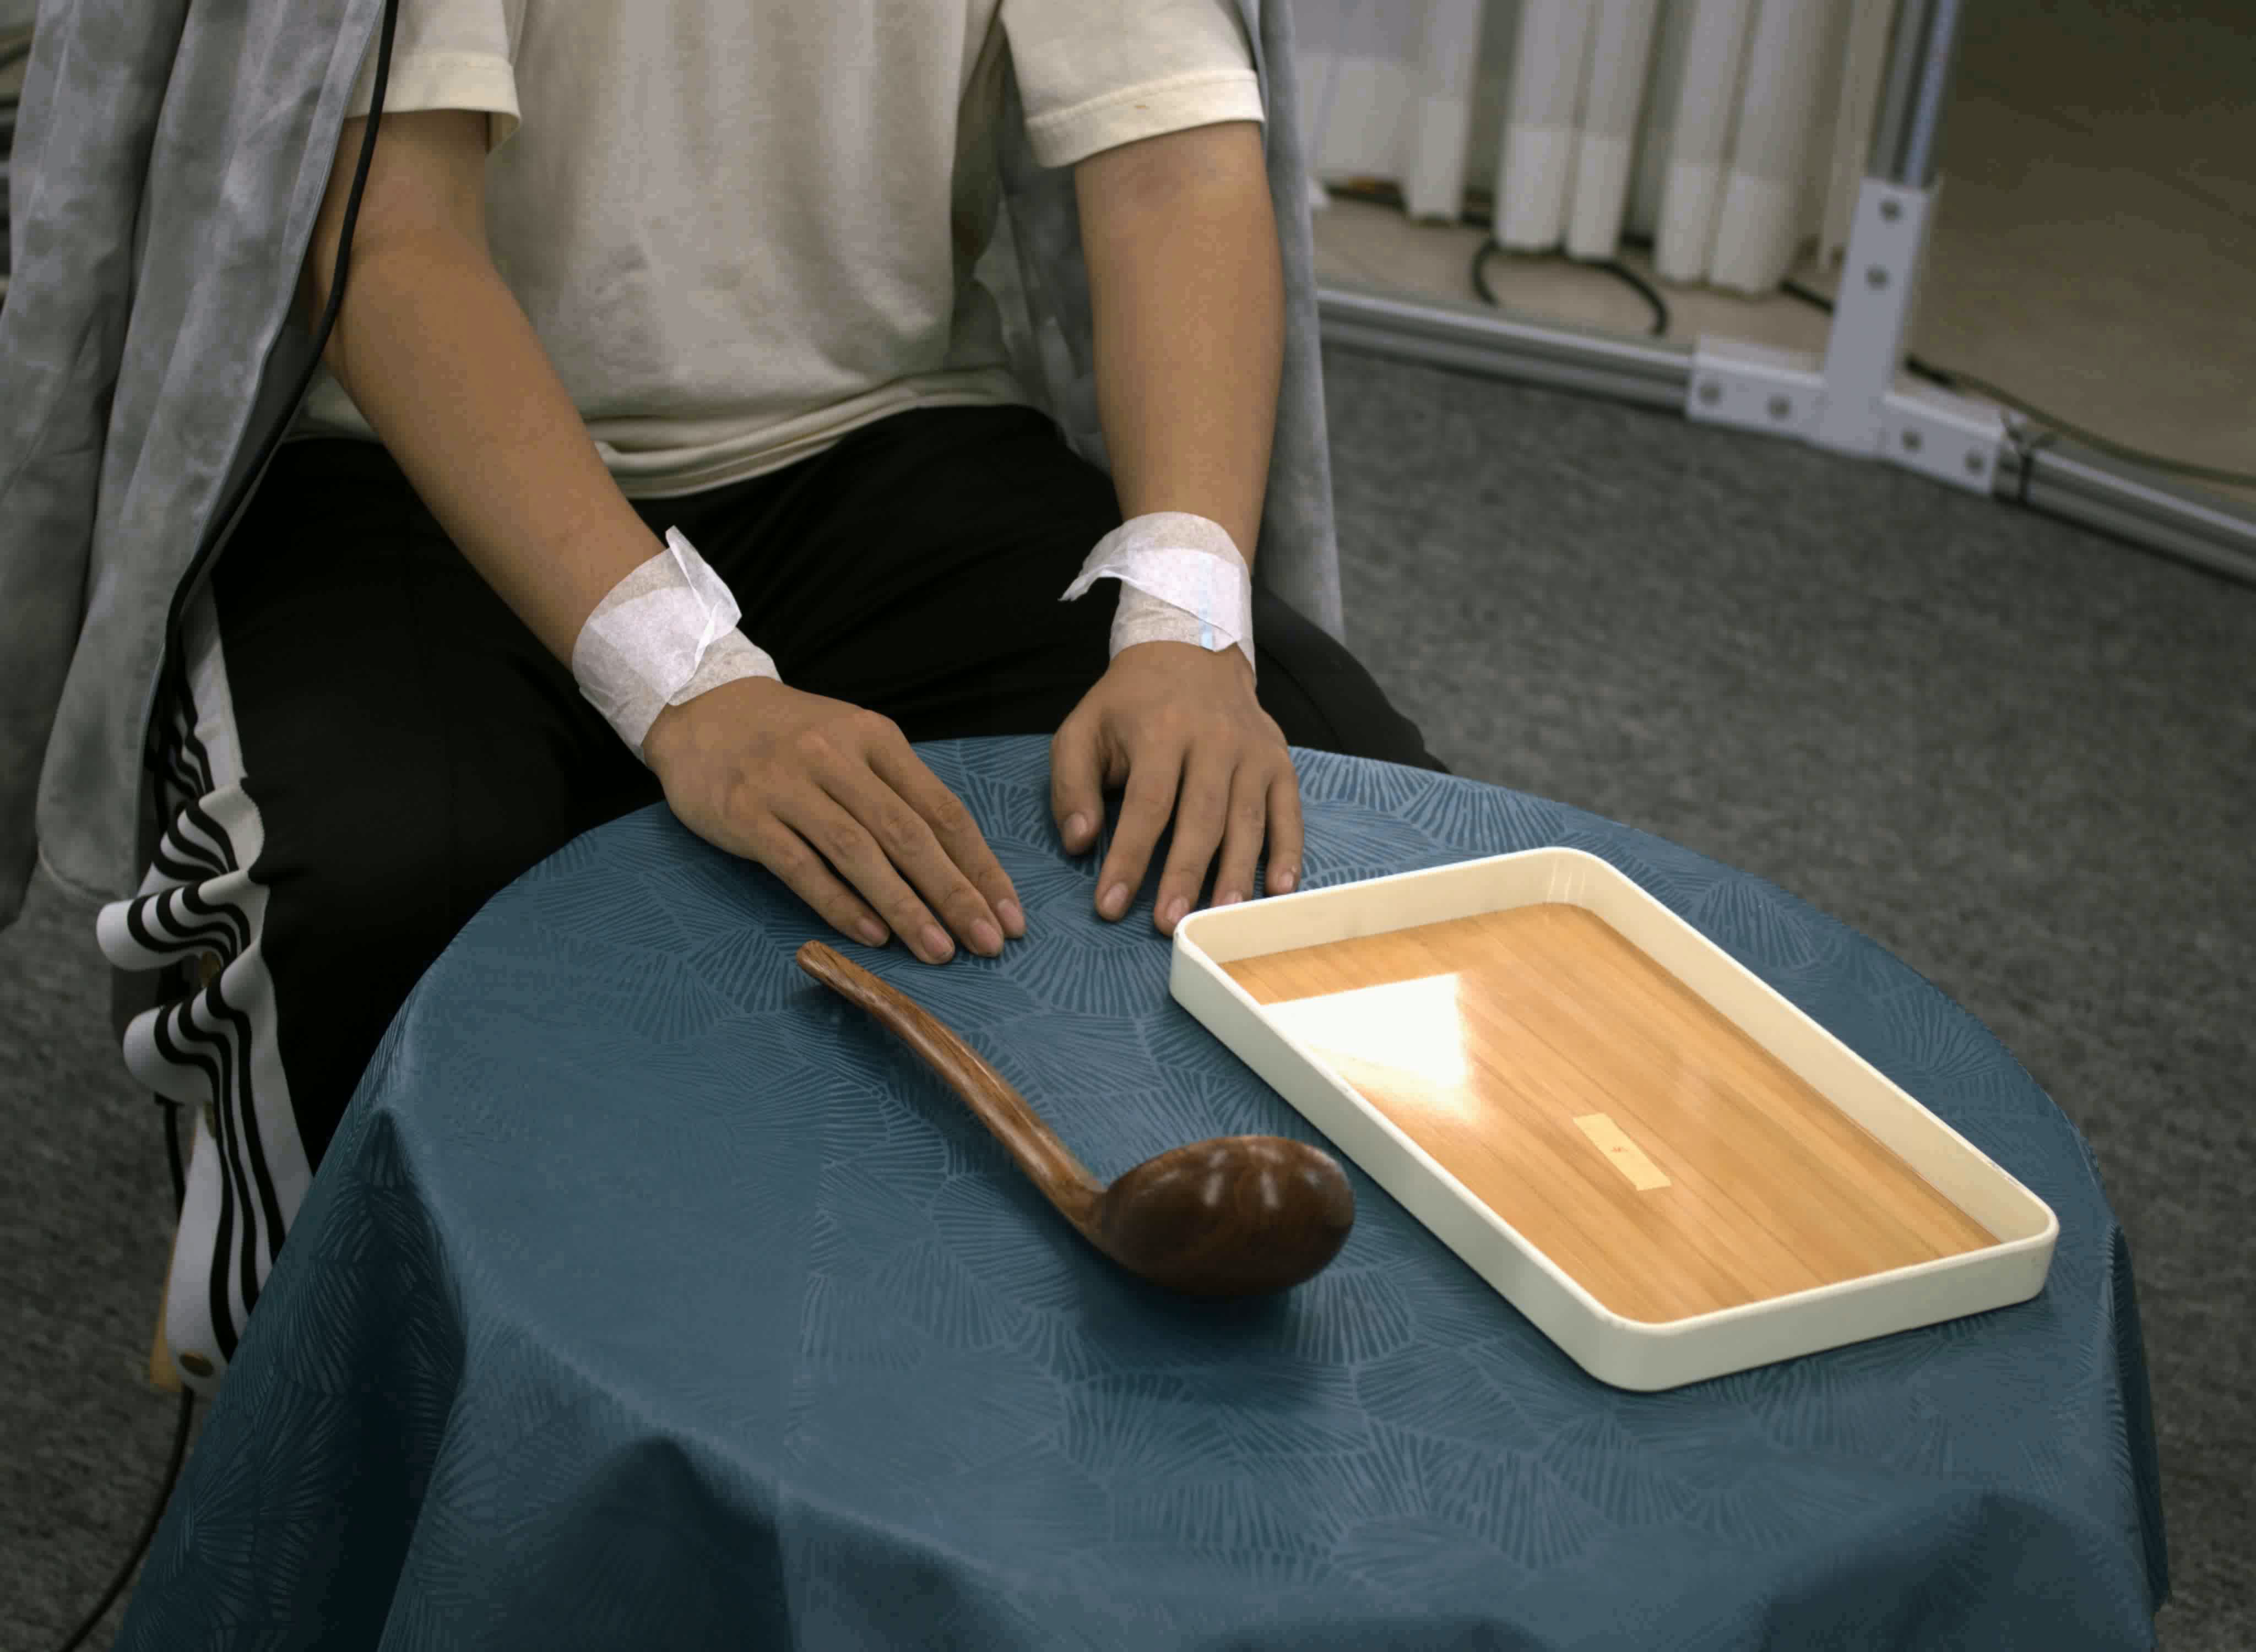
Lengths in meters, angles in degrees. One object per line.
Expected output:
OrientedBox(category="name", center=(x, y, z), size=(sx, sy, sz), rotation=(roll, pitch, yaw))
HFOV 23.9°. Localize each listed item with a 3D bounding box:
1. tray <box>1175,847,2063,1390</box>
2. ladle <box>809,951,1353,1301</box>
OrientedBox(category="tray", center=(0.166, 0.096, 1.866), size=(0.190, 0.027, 0.303), rotation=(-10, 31, -29))
OrientedBox(category="ladle", center=(-0.021, 0.082, 1.805), size=(0.081, 0.076, 0.276), rotation=(36, 3, -41))
